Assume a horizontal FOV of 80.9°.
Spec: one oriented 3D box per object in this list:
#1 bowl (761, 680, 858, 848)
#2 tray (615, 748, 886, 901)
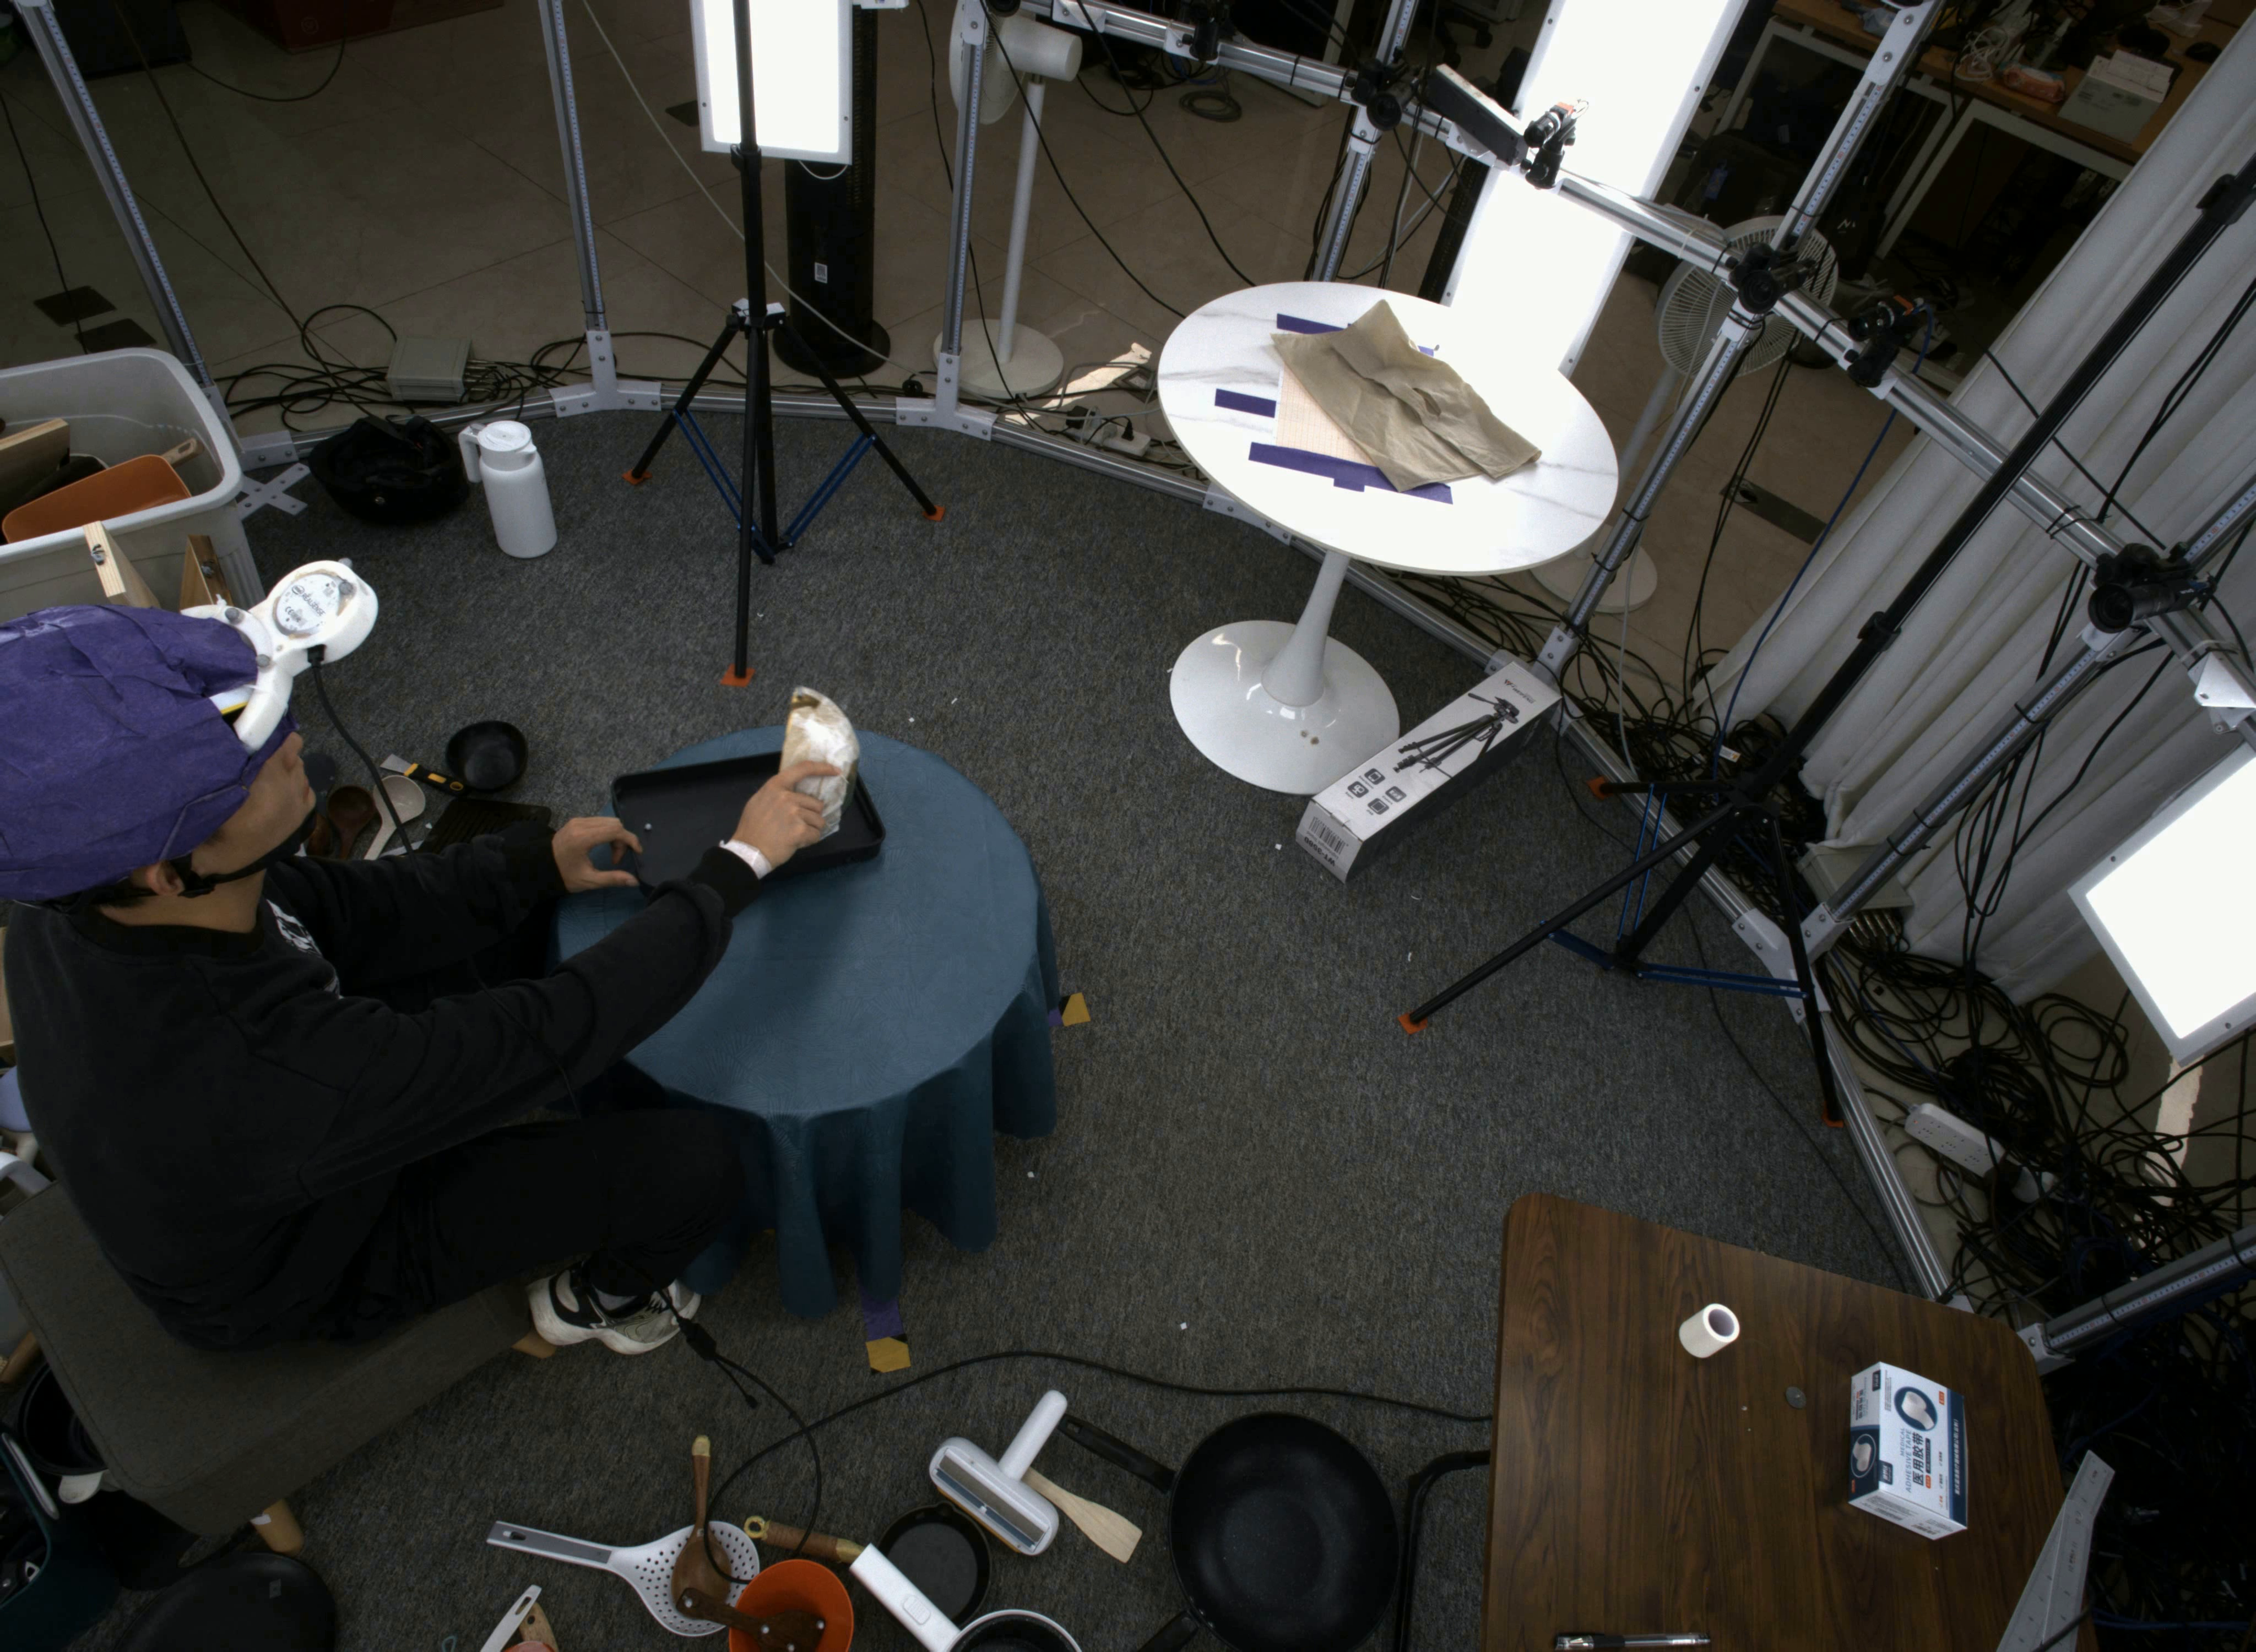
[{"bbox_3d":[-0.383,-0.065,1.588,0.095,0.217,0.211,12,50,-15],"label":"bowl"},{"bbox_3d":[-0.487,-0.014,1.669,0.321,0.037,0.180,-11,59,-30],"label":"tray"}]
